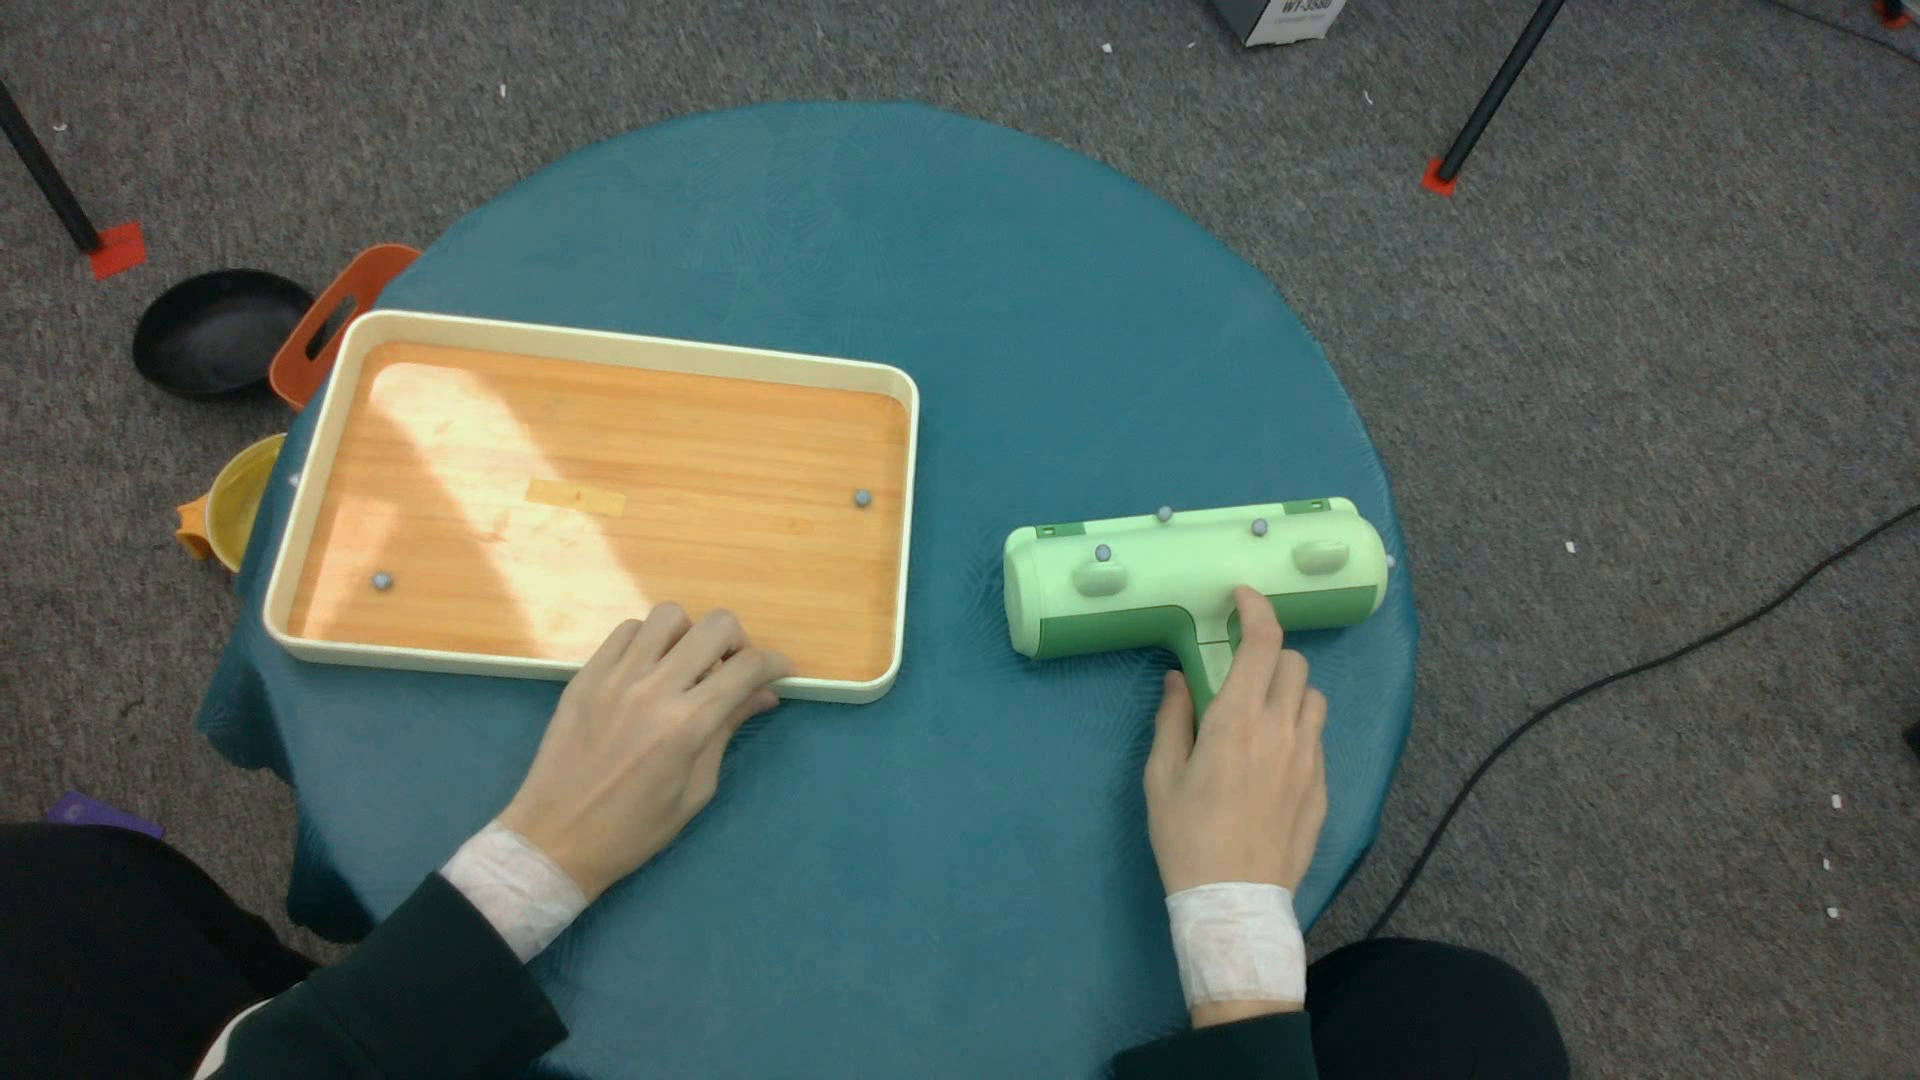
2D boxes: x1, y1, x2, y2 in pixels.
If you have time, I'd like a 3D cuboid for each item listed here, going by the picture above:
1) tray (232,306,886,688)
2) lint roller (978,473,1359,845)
[{"bbox_3d":[-0.190,-0.024,0.700,0.300,0.027,0.192,4,63,-6],"label":"tray"},{"bbox_3d":[0.120,0.052,0.682,0.199,0.082,0.184,-6,60,-12],"label":"lint roller"}]
